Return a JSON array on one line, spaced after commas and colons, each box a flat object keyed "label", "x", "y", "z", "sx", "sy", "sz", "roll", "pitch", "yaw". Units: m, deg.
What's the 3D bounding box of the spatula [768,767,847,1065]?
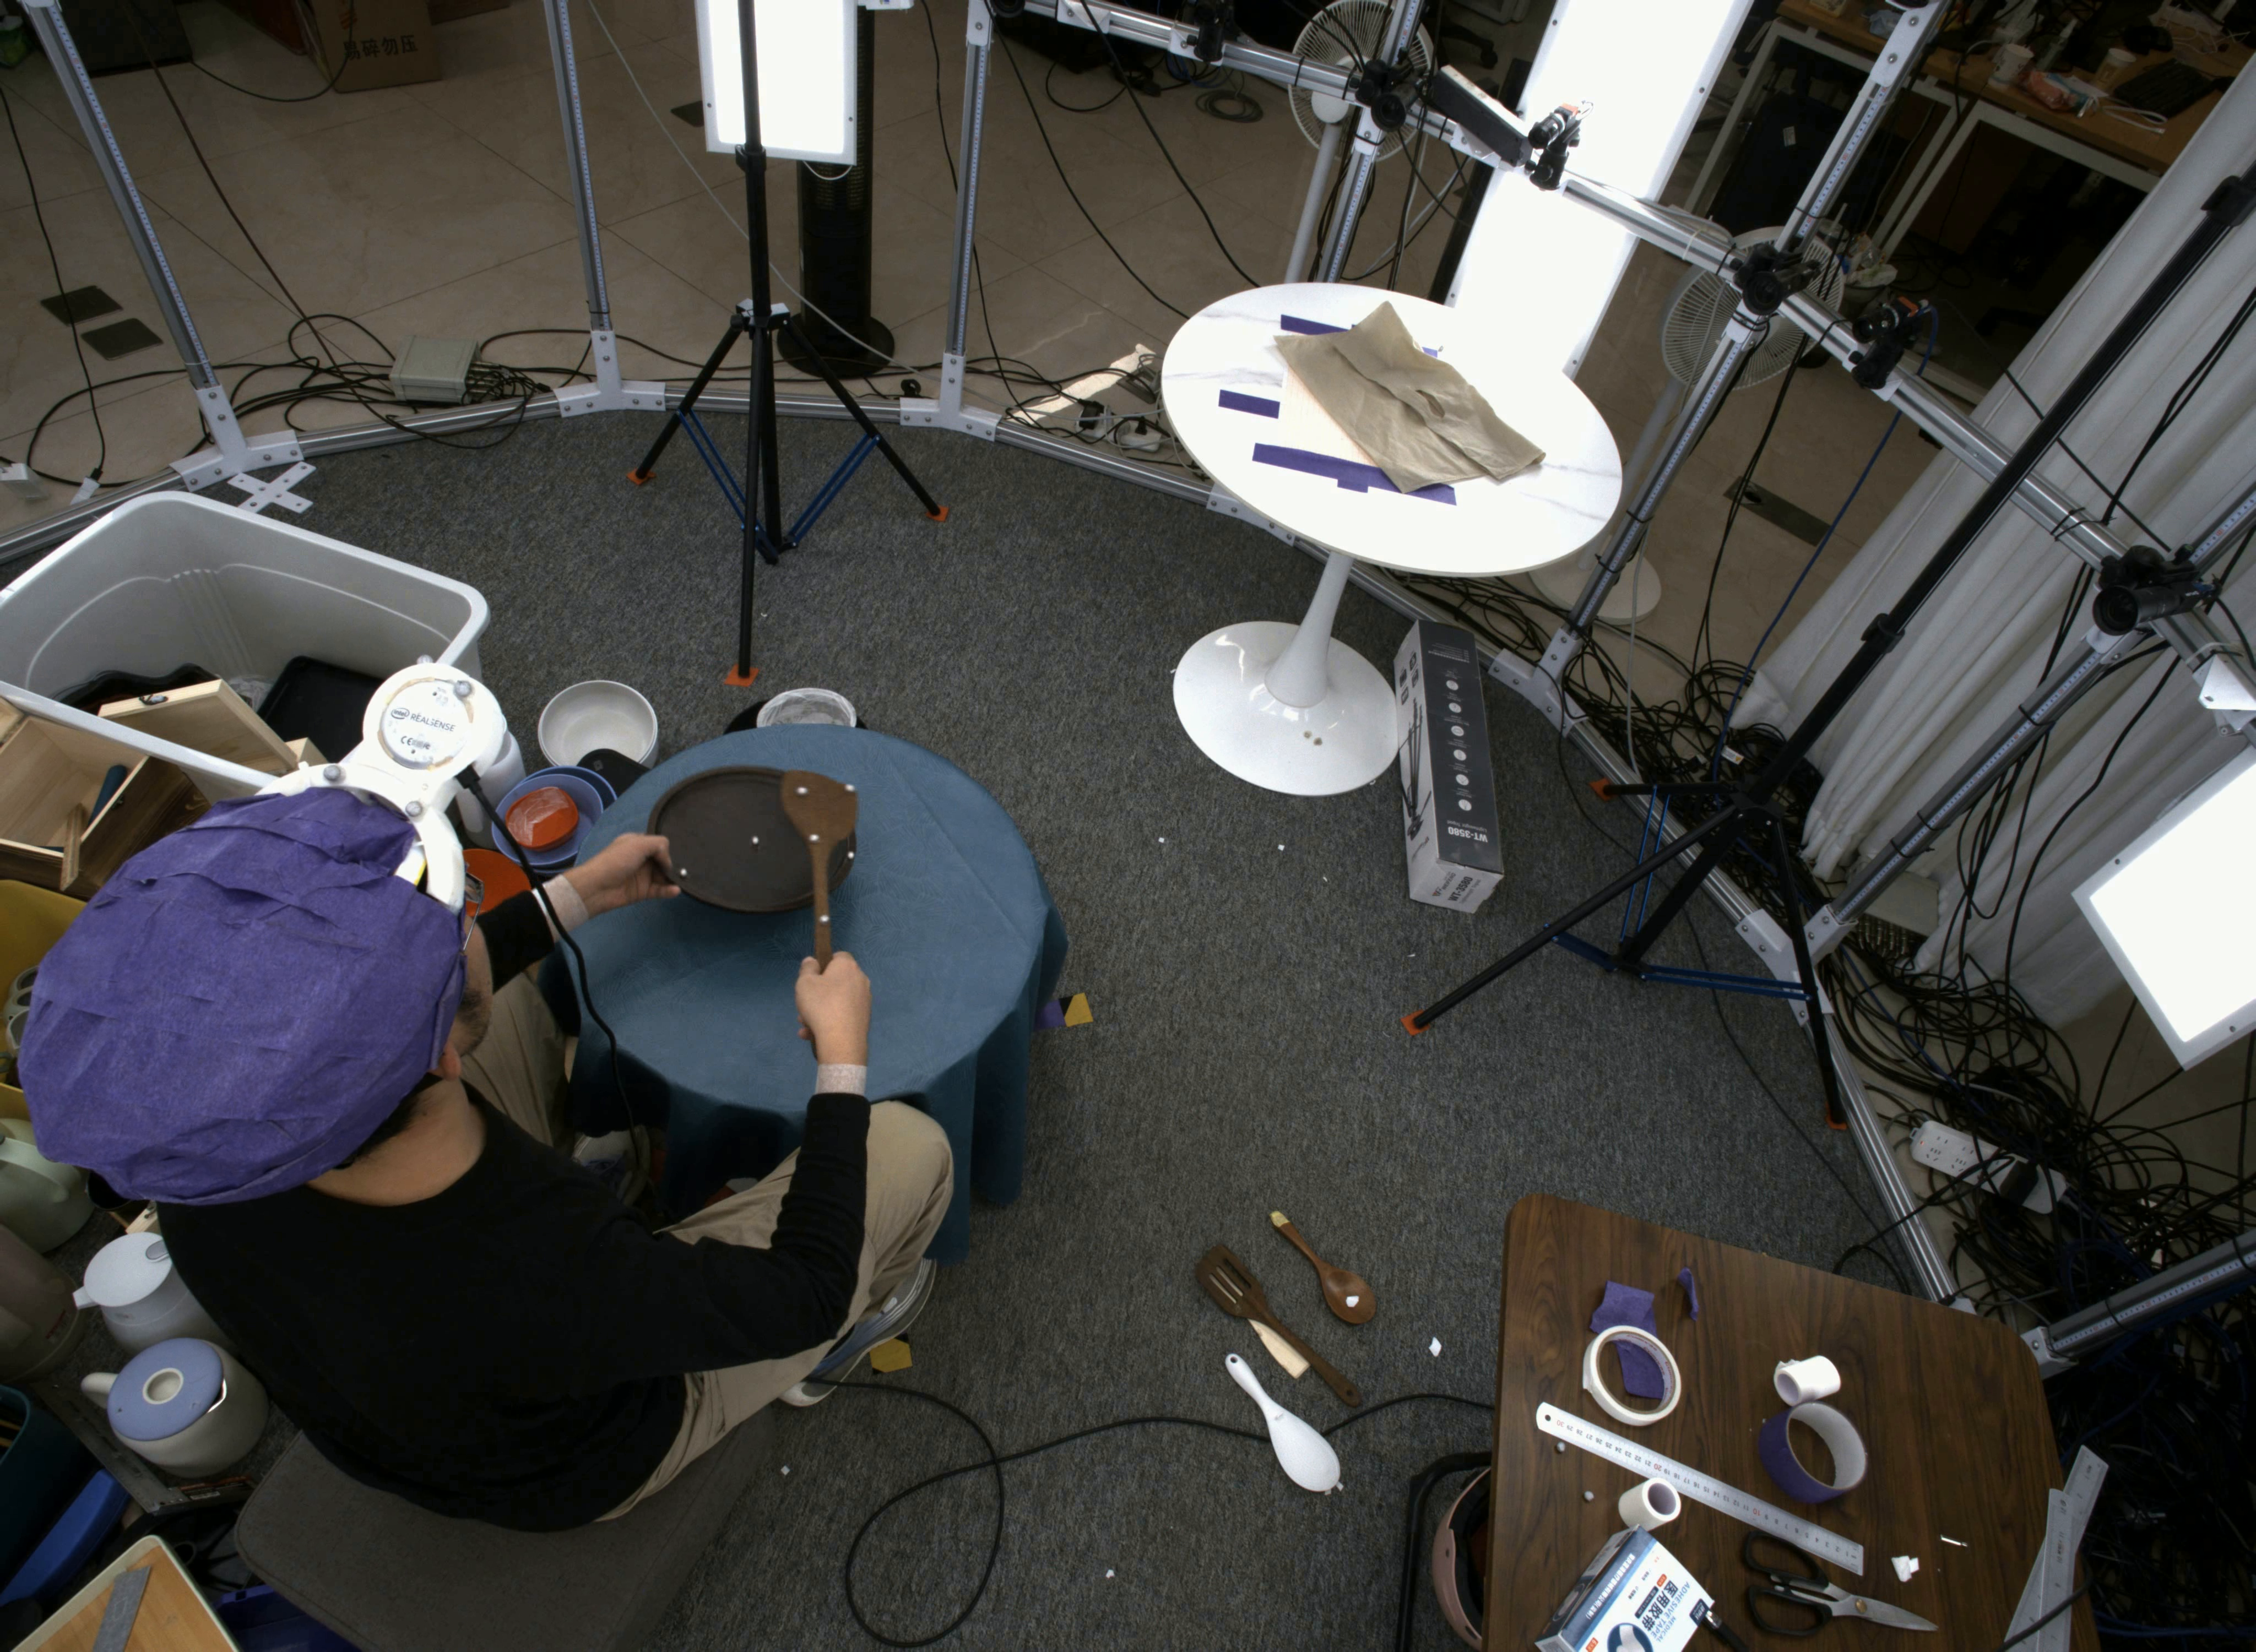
[{"label": "spatula", "x": -0.340, "y": 0.085, "z": 1.401, "sx": 0.098, "sy": 0.016, "sz": 0.376, "roll": 17, "pitch": 44, "yaw": -35}]

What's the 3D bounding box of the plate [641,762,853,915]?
[{"label": "plate", "x": -0.465, "y": 0.011, "z": 1.581, "sx": 0.256, "sy": 0.029, "sz": 0.249, "roll": 15, "pitch": 42, "yaw": -12}]
